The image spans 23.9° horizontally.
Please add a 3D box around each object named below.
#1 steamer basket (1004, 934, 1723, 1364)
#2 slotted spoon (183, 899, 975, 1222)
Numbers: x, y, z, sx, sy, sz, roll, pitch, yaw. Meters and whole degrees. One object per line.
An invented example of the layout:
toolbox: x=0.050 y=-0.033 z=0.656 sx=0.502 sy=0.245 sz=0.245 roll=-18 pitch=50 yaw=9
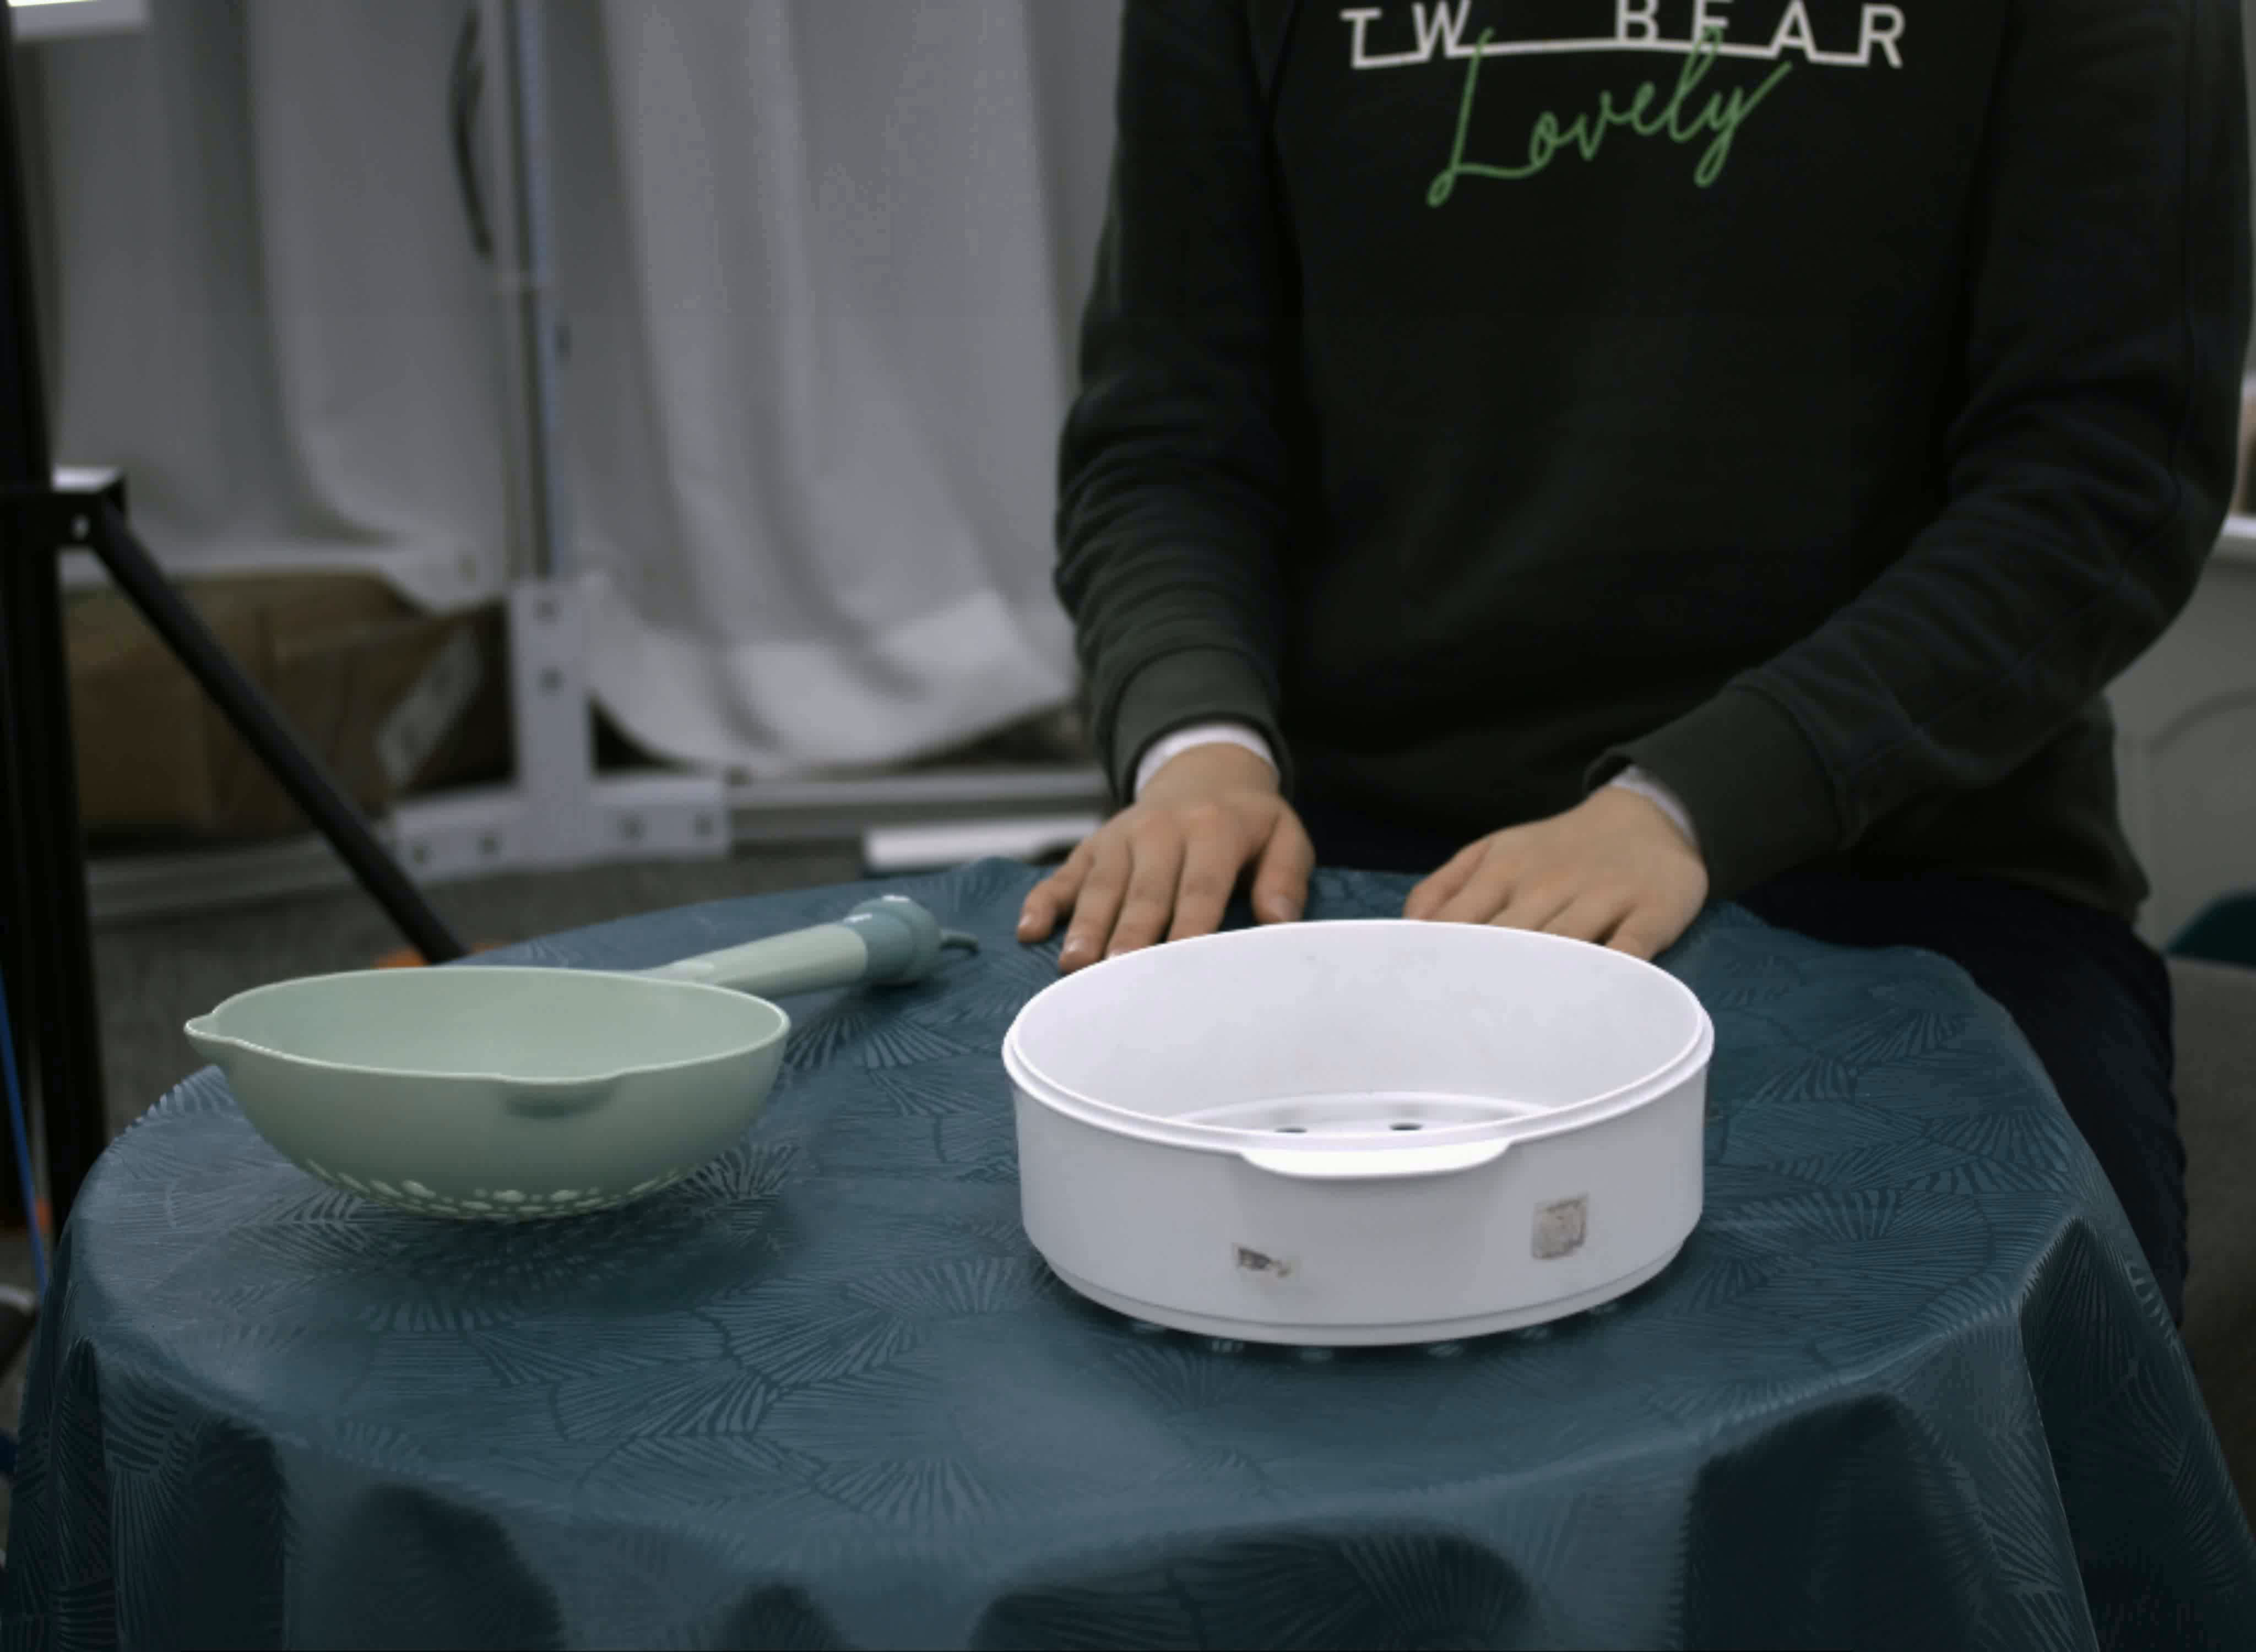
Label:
steamer basket: x=0.066 y=0.090 z=1.493 sx=0.201 sy=0.069 sz=0.231 roll=-2 pitch=15 yaw=0
slotted spoon: x=-0.139 y=0.057 z=1.645 sx=0.172 sy=0.075 sz=0.353 roll=6 pitch=18 yaw=27
